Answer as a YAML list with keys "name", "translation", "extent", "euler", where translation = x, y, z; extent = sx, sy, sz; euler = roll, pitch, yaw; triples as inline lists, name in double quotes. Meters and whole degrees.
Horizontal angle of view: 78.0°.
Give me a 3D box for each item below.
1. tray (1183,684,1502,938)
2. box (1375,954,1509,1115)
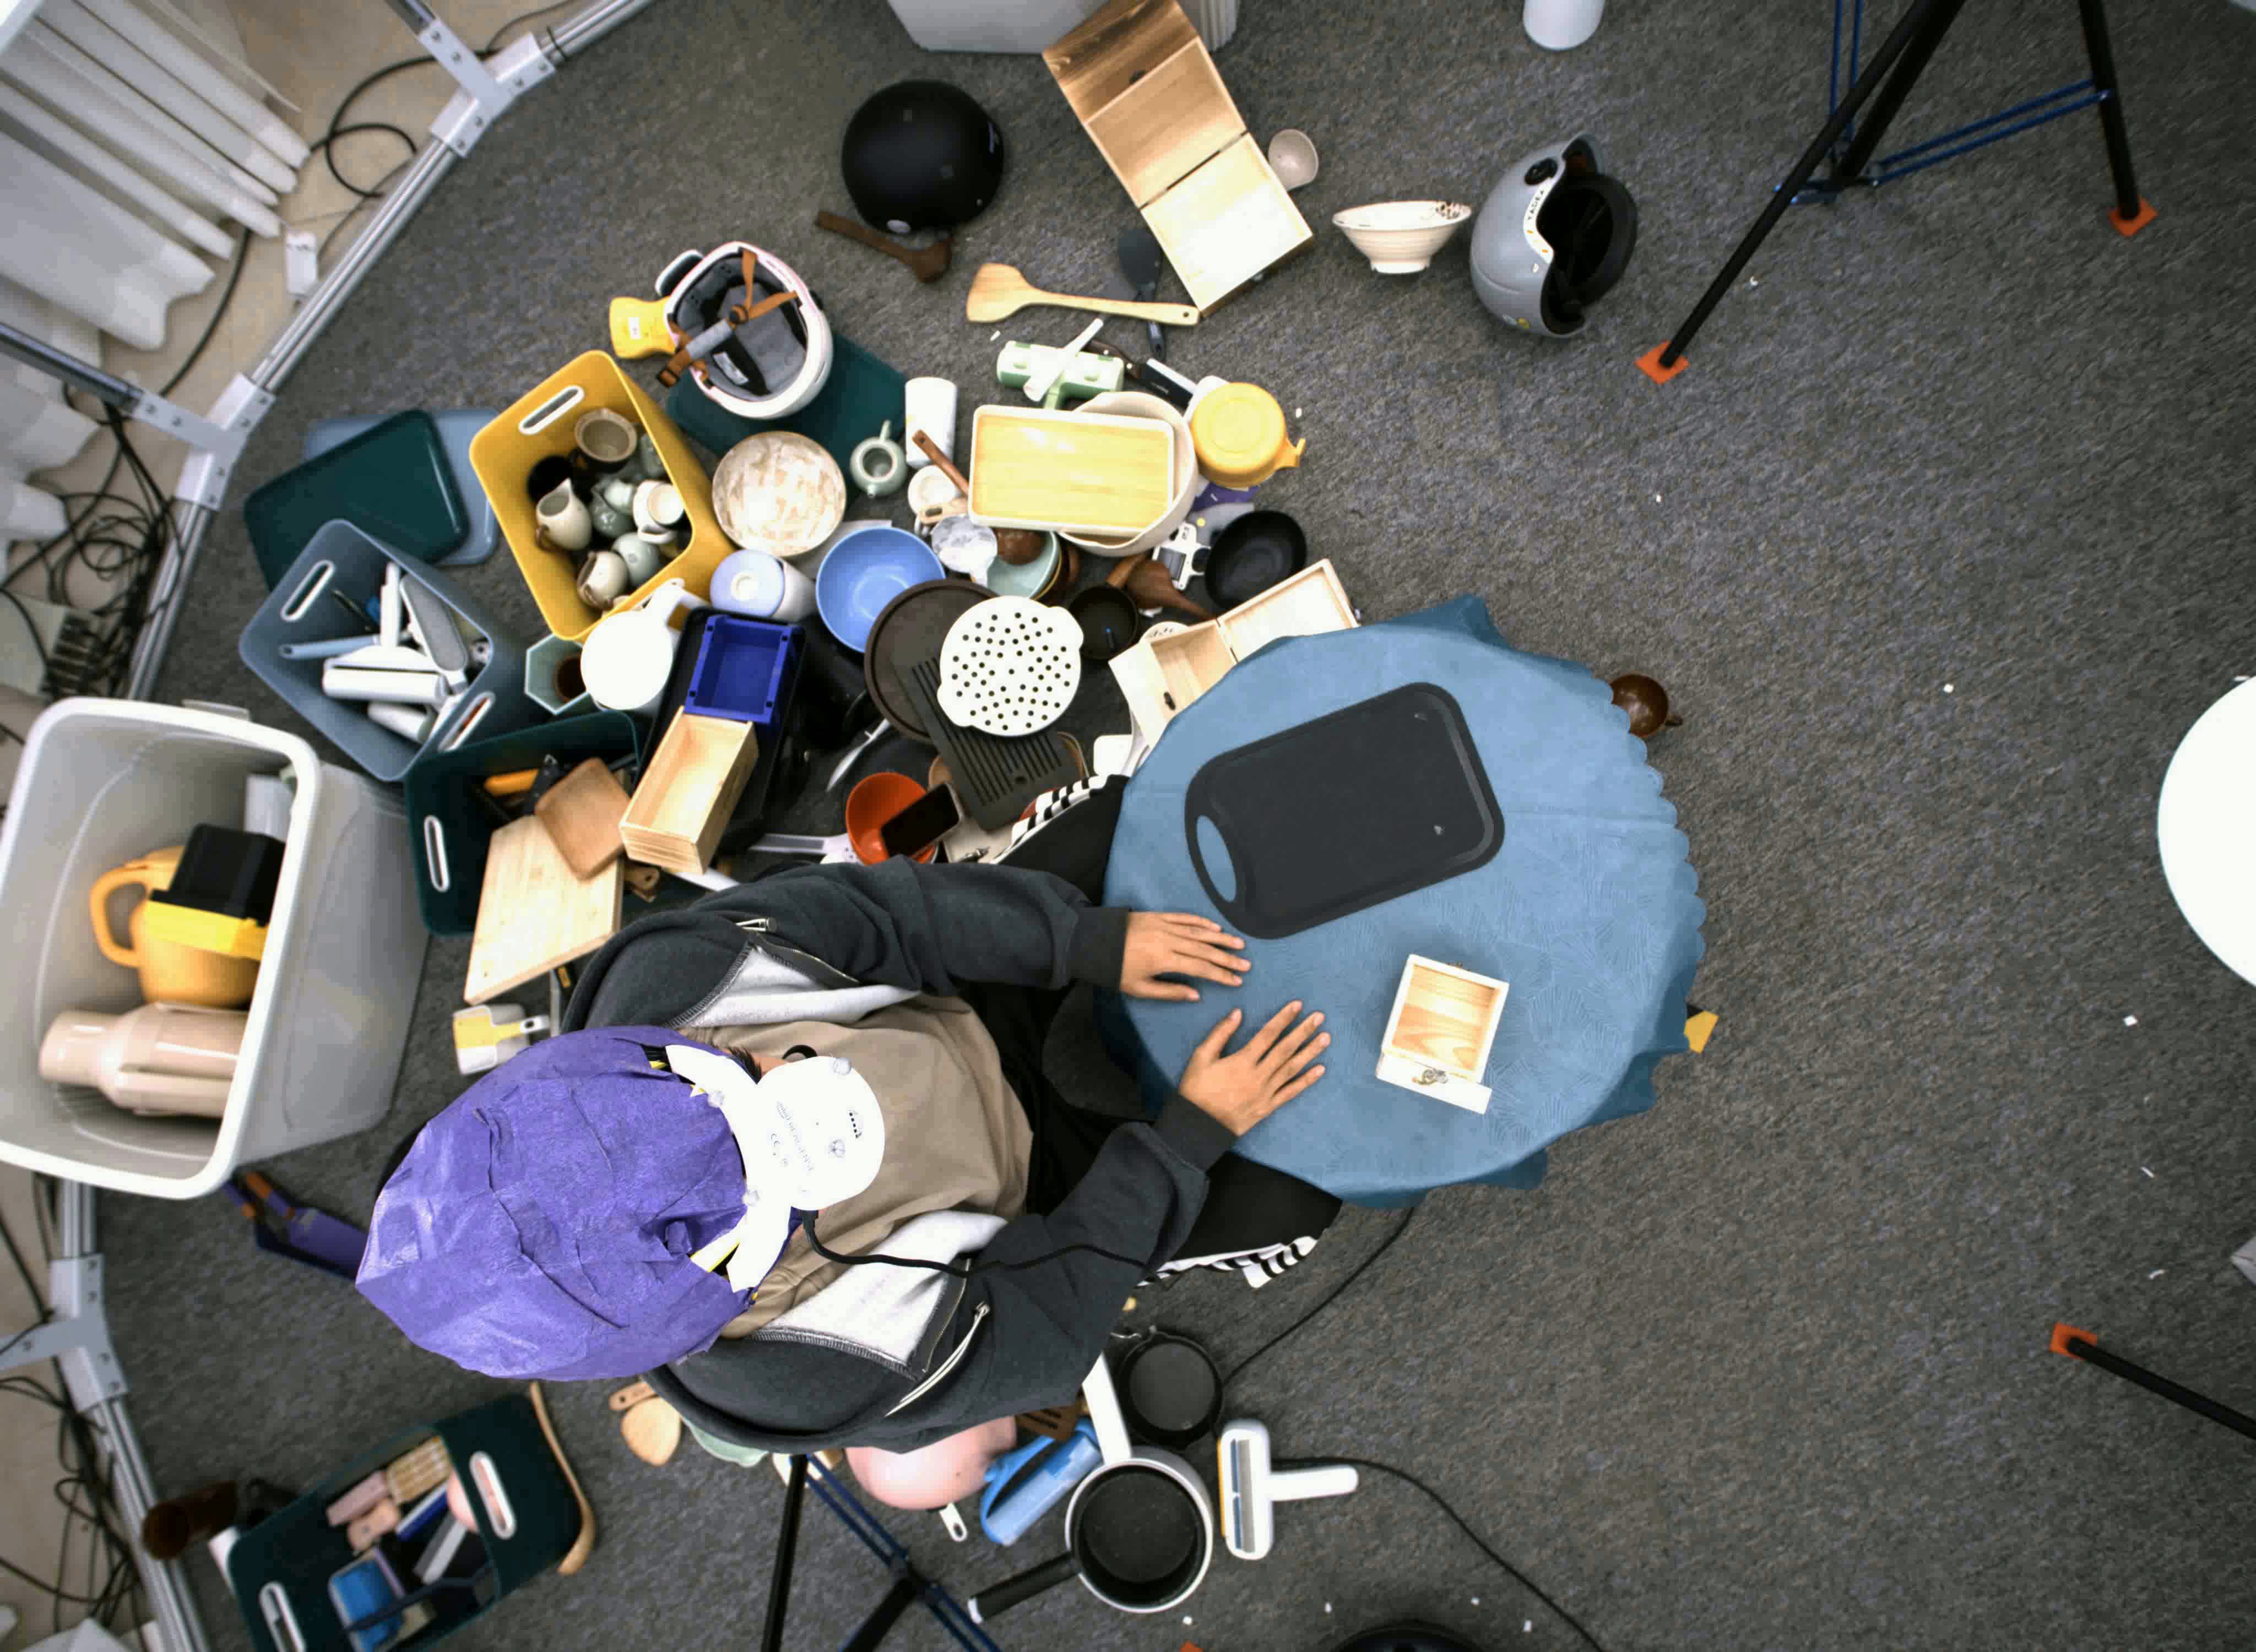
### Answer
- name: "tray"
  translation: [0.221, -0.013, 1.470]
  extent: [0.327, 0.010, 0.210]
  euler: [-20, 83, 9]
- name: "box"
  translation: [0.310, 0.195, 1.351]
  extent: [0.102, 0.184, 0.134]
  euler: [17, 89, 10]
